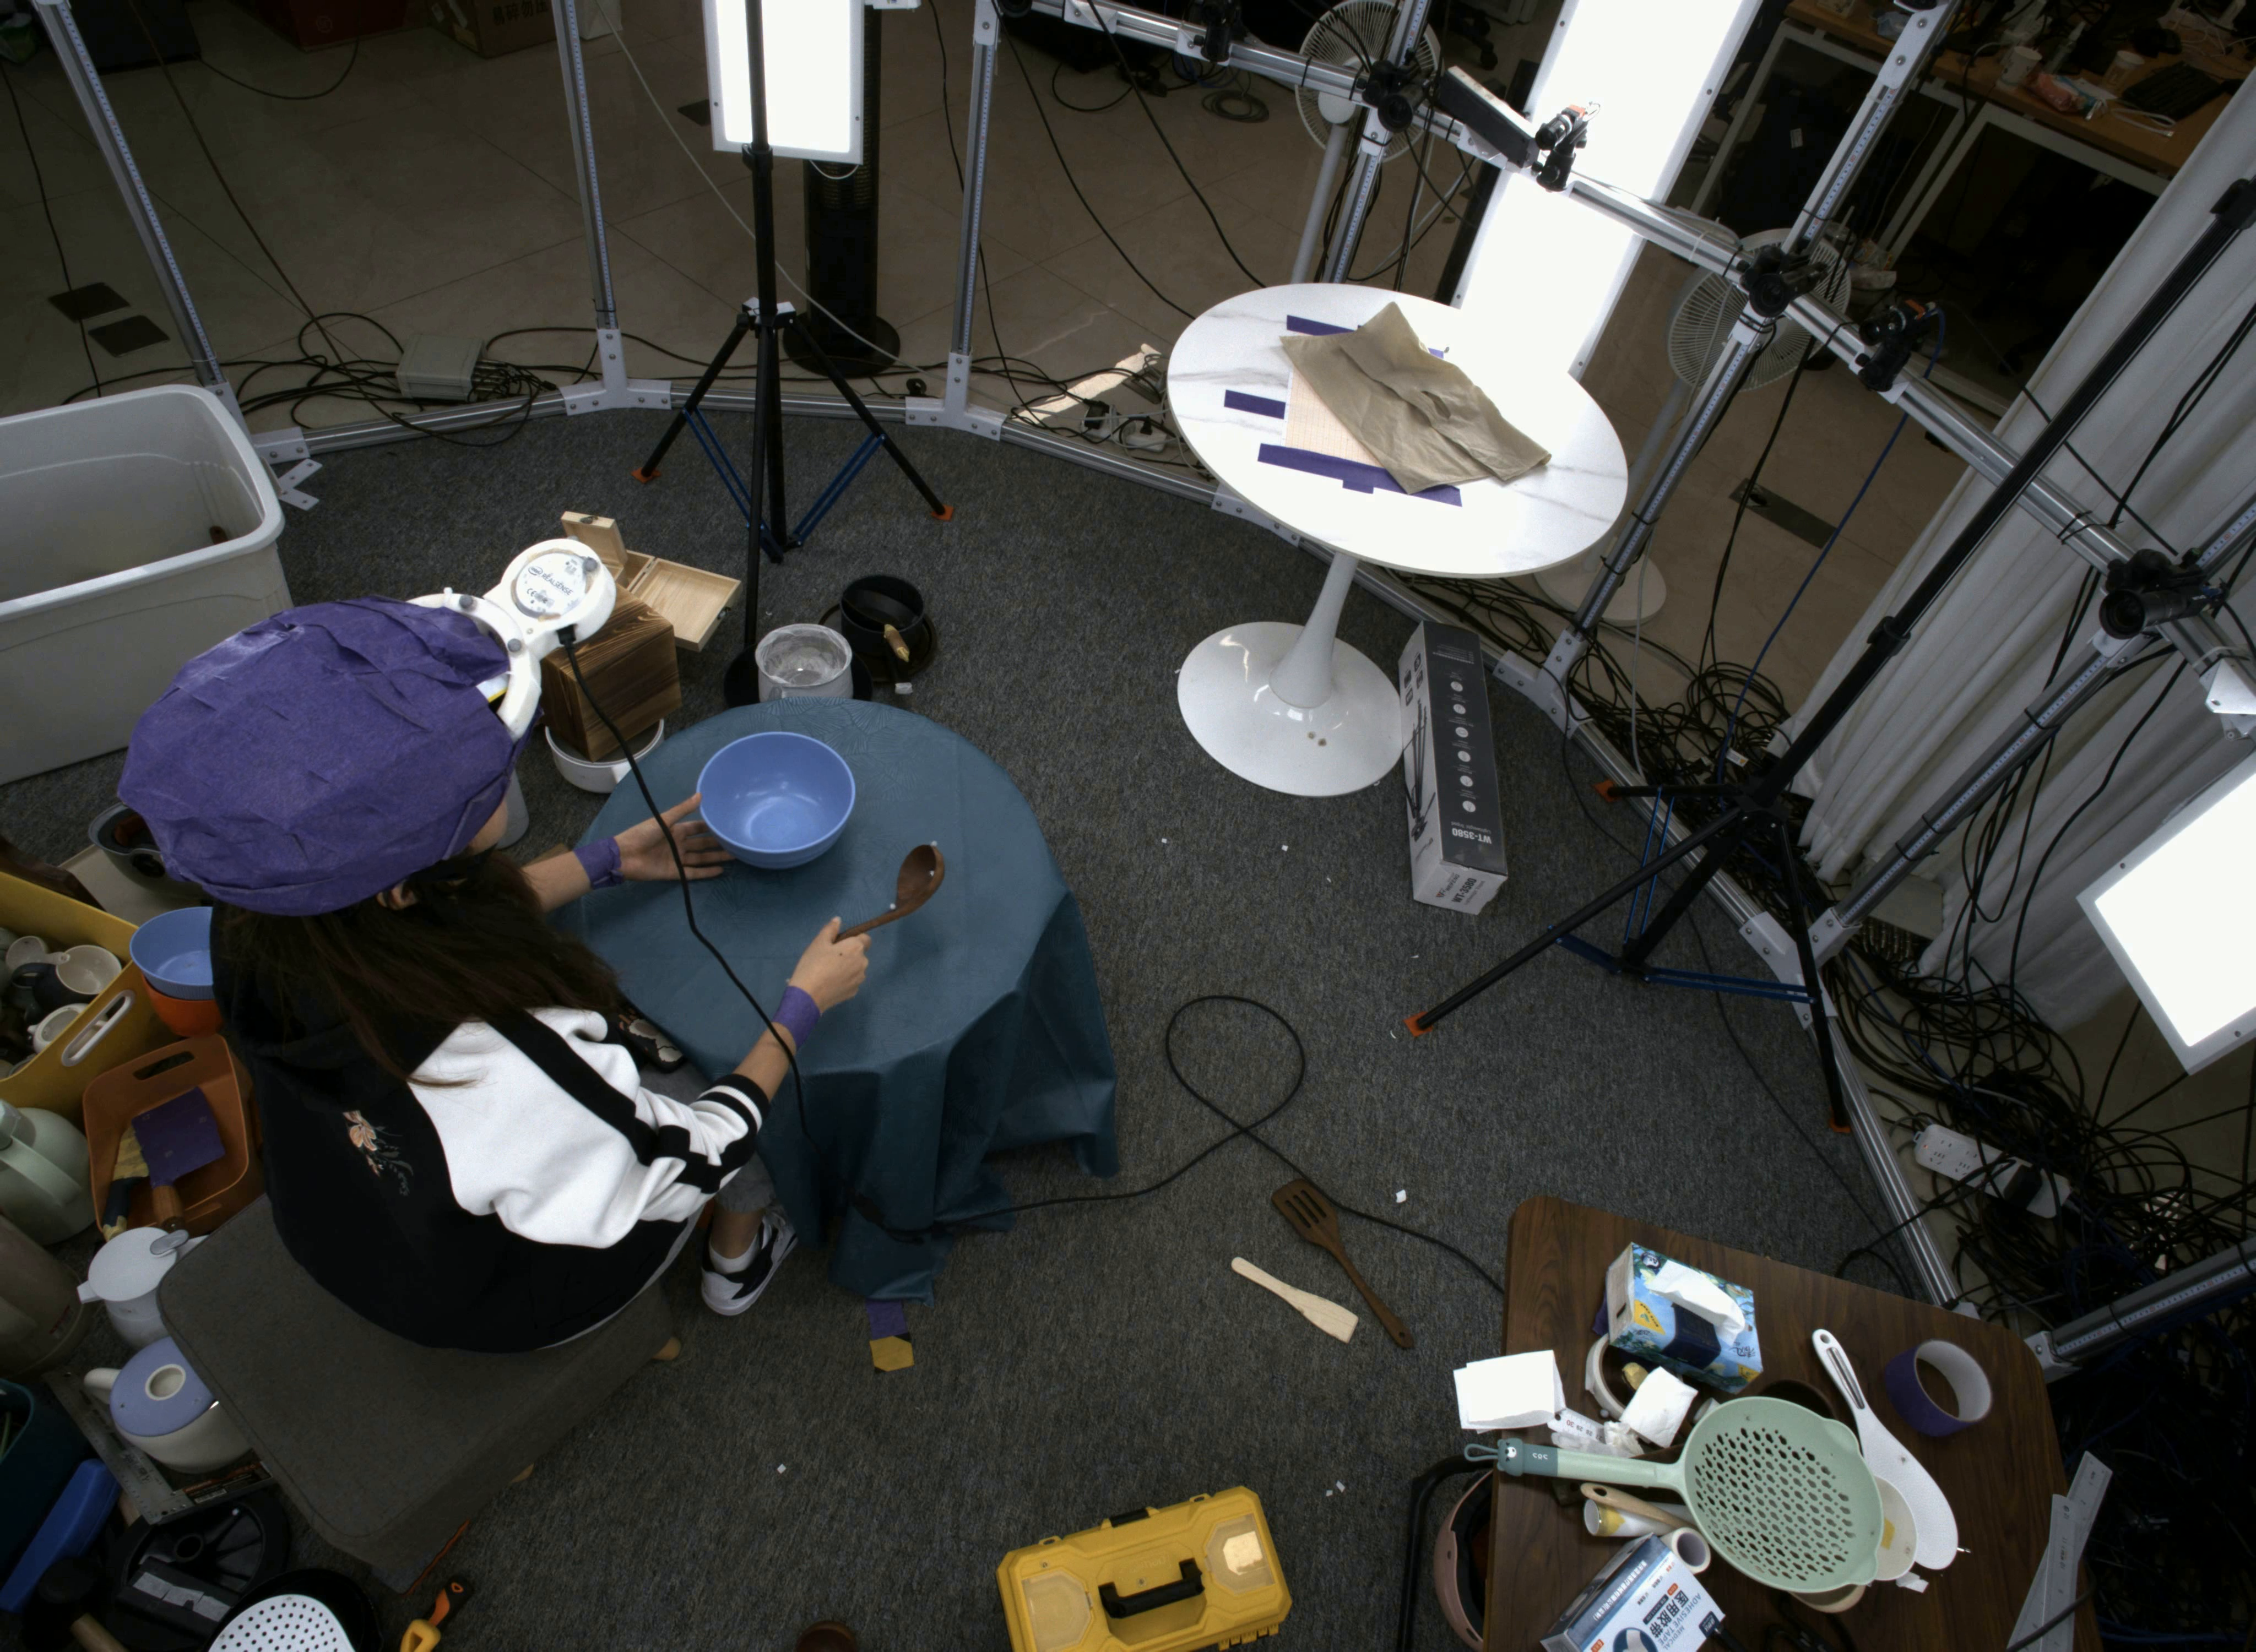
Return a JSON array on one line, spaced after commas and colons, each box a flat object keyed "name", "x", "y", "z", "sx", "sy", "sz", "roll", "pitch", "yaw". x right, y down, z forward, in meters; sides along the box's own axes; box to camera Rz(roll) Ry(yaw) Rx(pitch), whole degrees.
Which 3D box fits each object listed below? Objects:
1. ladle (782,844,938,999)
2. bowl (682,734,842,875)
[{"name": "ladle", "x": -0.322, "y": 0.106, "z": 1.540, "sx": 0.260, "sy": 0.074, "sz": 0.067, "roll": -39, "pitch": 111, "yaw": -41}, {"name": "bowl", "x": -0.469, "y": -0.014, "z": 1.656, "sx": 0.197, "sy": 0.097, "sz": 0.193, "roll": 12, "pitch": 51, "yaw": -13}]
